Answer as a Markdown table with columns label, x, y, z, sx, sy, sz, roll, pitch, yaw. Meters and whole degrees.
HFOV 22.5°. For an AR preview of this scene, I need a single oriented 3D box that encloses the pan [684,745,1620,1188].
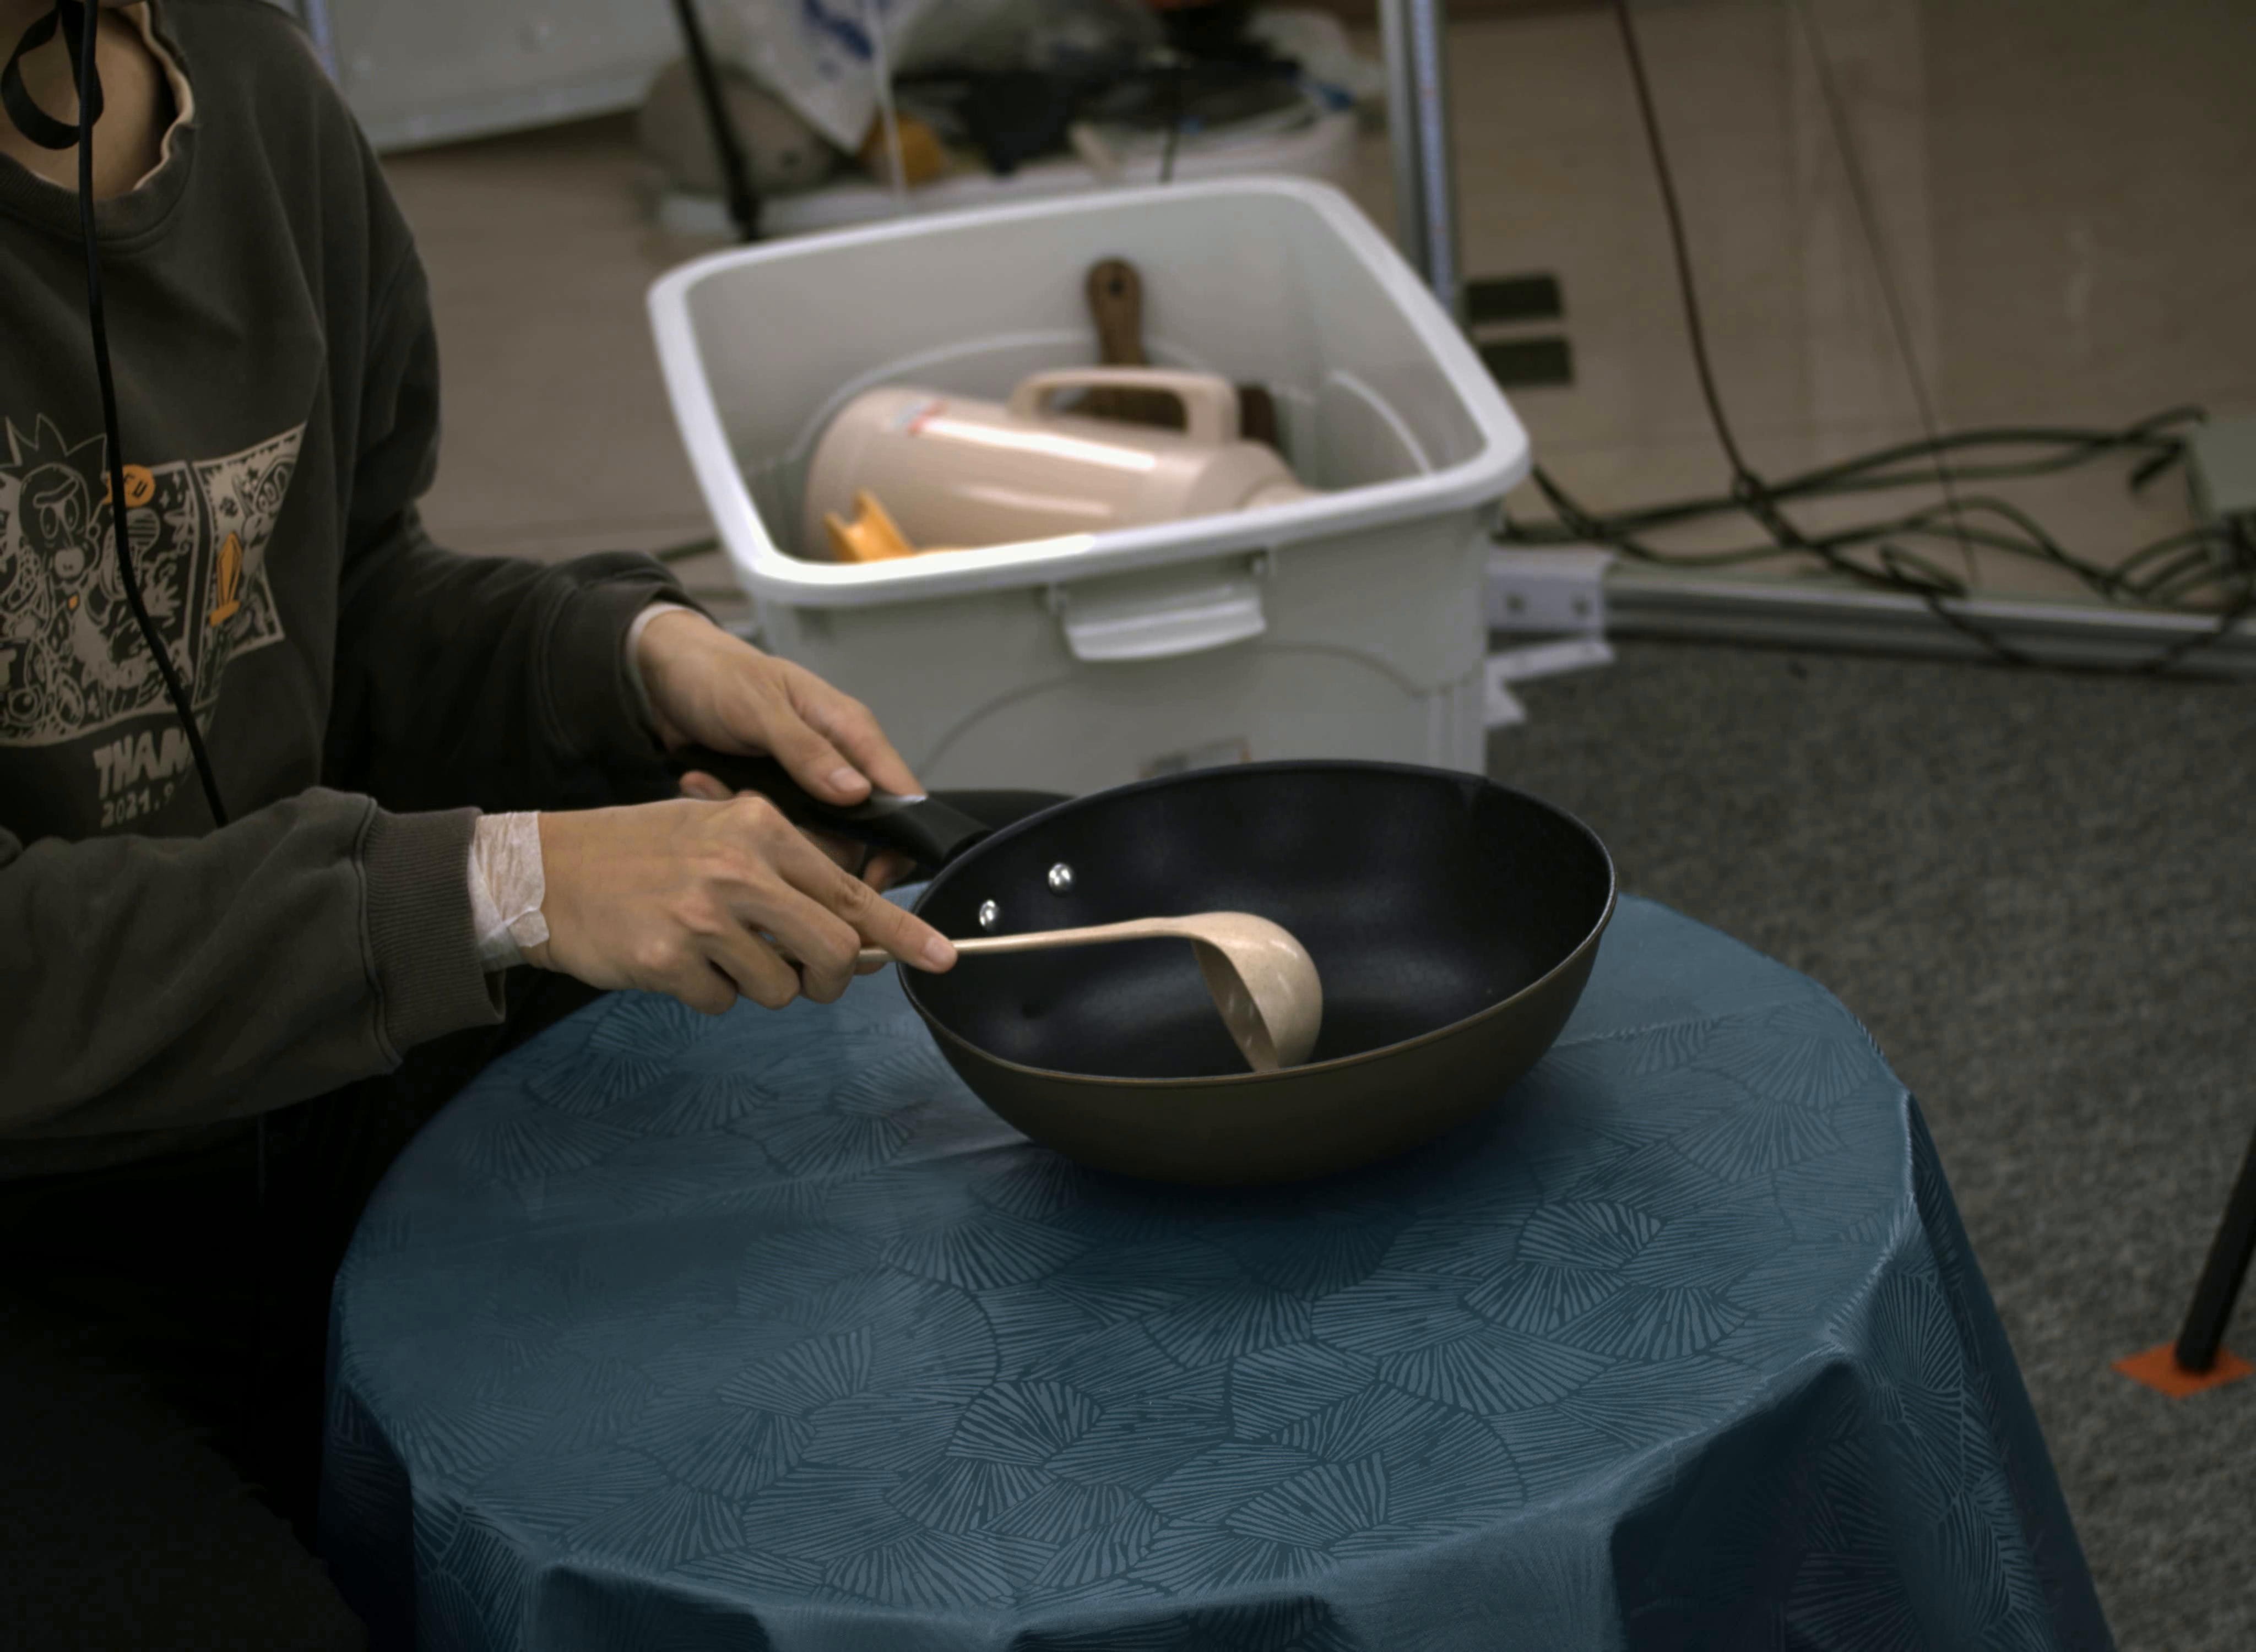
| label | x | y | z | sx | sy | sz | roll | pitch | yaw |
| --- | --- | --- | --- | --- | --- | --- | --- | --- | --- |
| pan | -0.014 | 0.049 | 2.245 | 0.460 | 0.088 | 0.285 | 15 | 33 | 41 |

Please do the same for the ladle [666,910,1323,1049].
| label | x | y | z | sx | sy | sz | roll | pitch | yaw |
| --- | --- | --- | --- | --- | --- | --- | --- | --- | --- |
| ladle | -0.052 | 0.070 | 2.159 | 0.254 | 0.073 | 0.071 | -1 | 16 | -15 |
